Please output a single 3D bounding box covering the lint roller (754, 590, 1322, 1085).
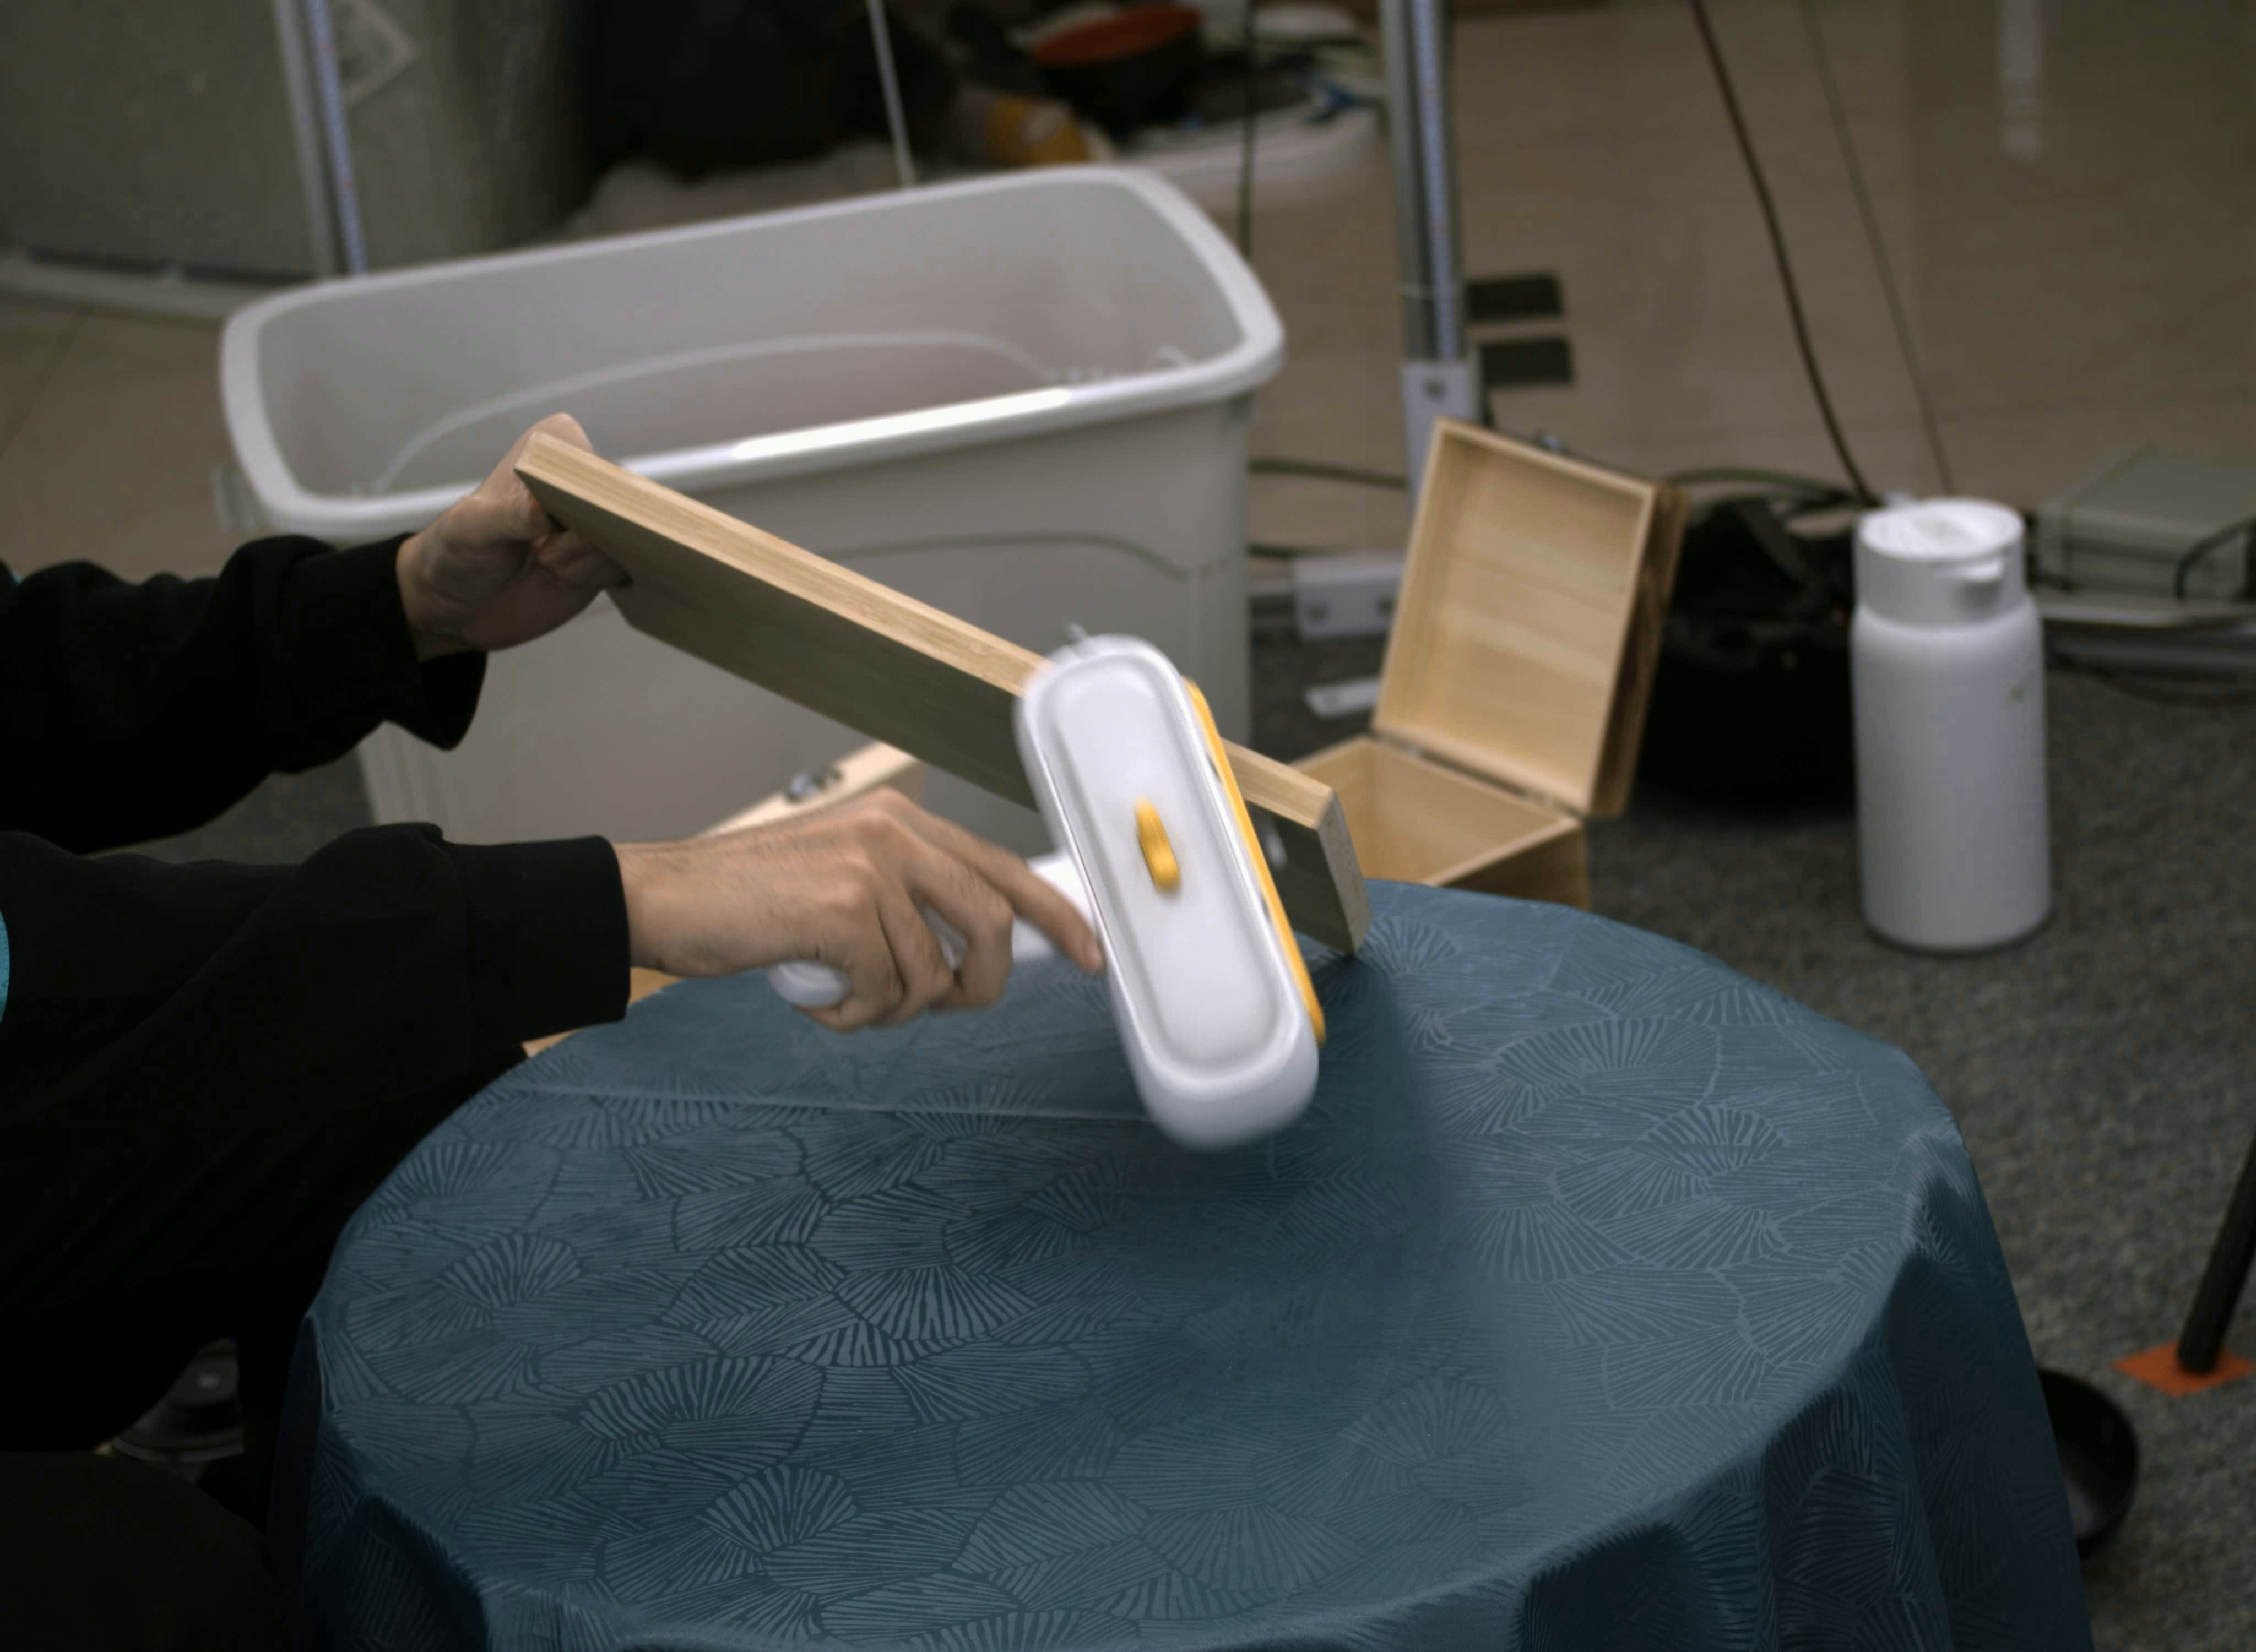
[{"bbox_3d":[-0.045,0.022,2.024,0.191,0.191,0.075,-22,-13,-14],"label":"lint roller"}]

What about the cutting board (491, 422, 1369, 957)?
[{"bbox_3d":[-0.072,-0.051,2.222,0.347,0.023,0.252,24,-9,10],"label":"cutting board"}]
